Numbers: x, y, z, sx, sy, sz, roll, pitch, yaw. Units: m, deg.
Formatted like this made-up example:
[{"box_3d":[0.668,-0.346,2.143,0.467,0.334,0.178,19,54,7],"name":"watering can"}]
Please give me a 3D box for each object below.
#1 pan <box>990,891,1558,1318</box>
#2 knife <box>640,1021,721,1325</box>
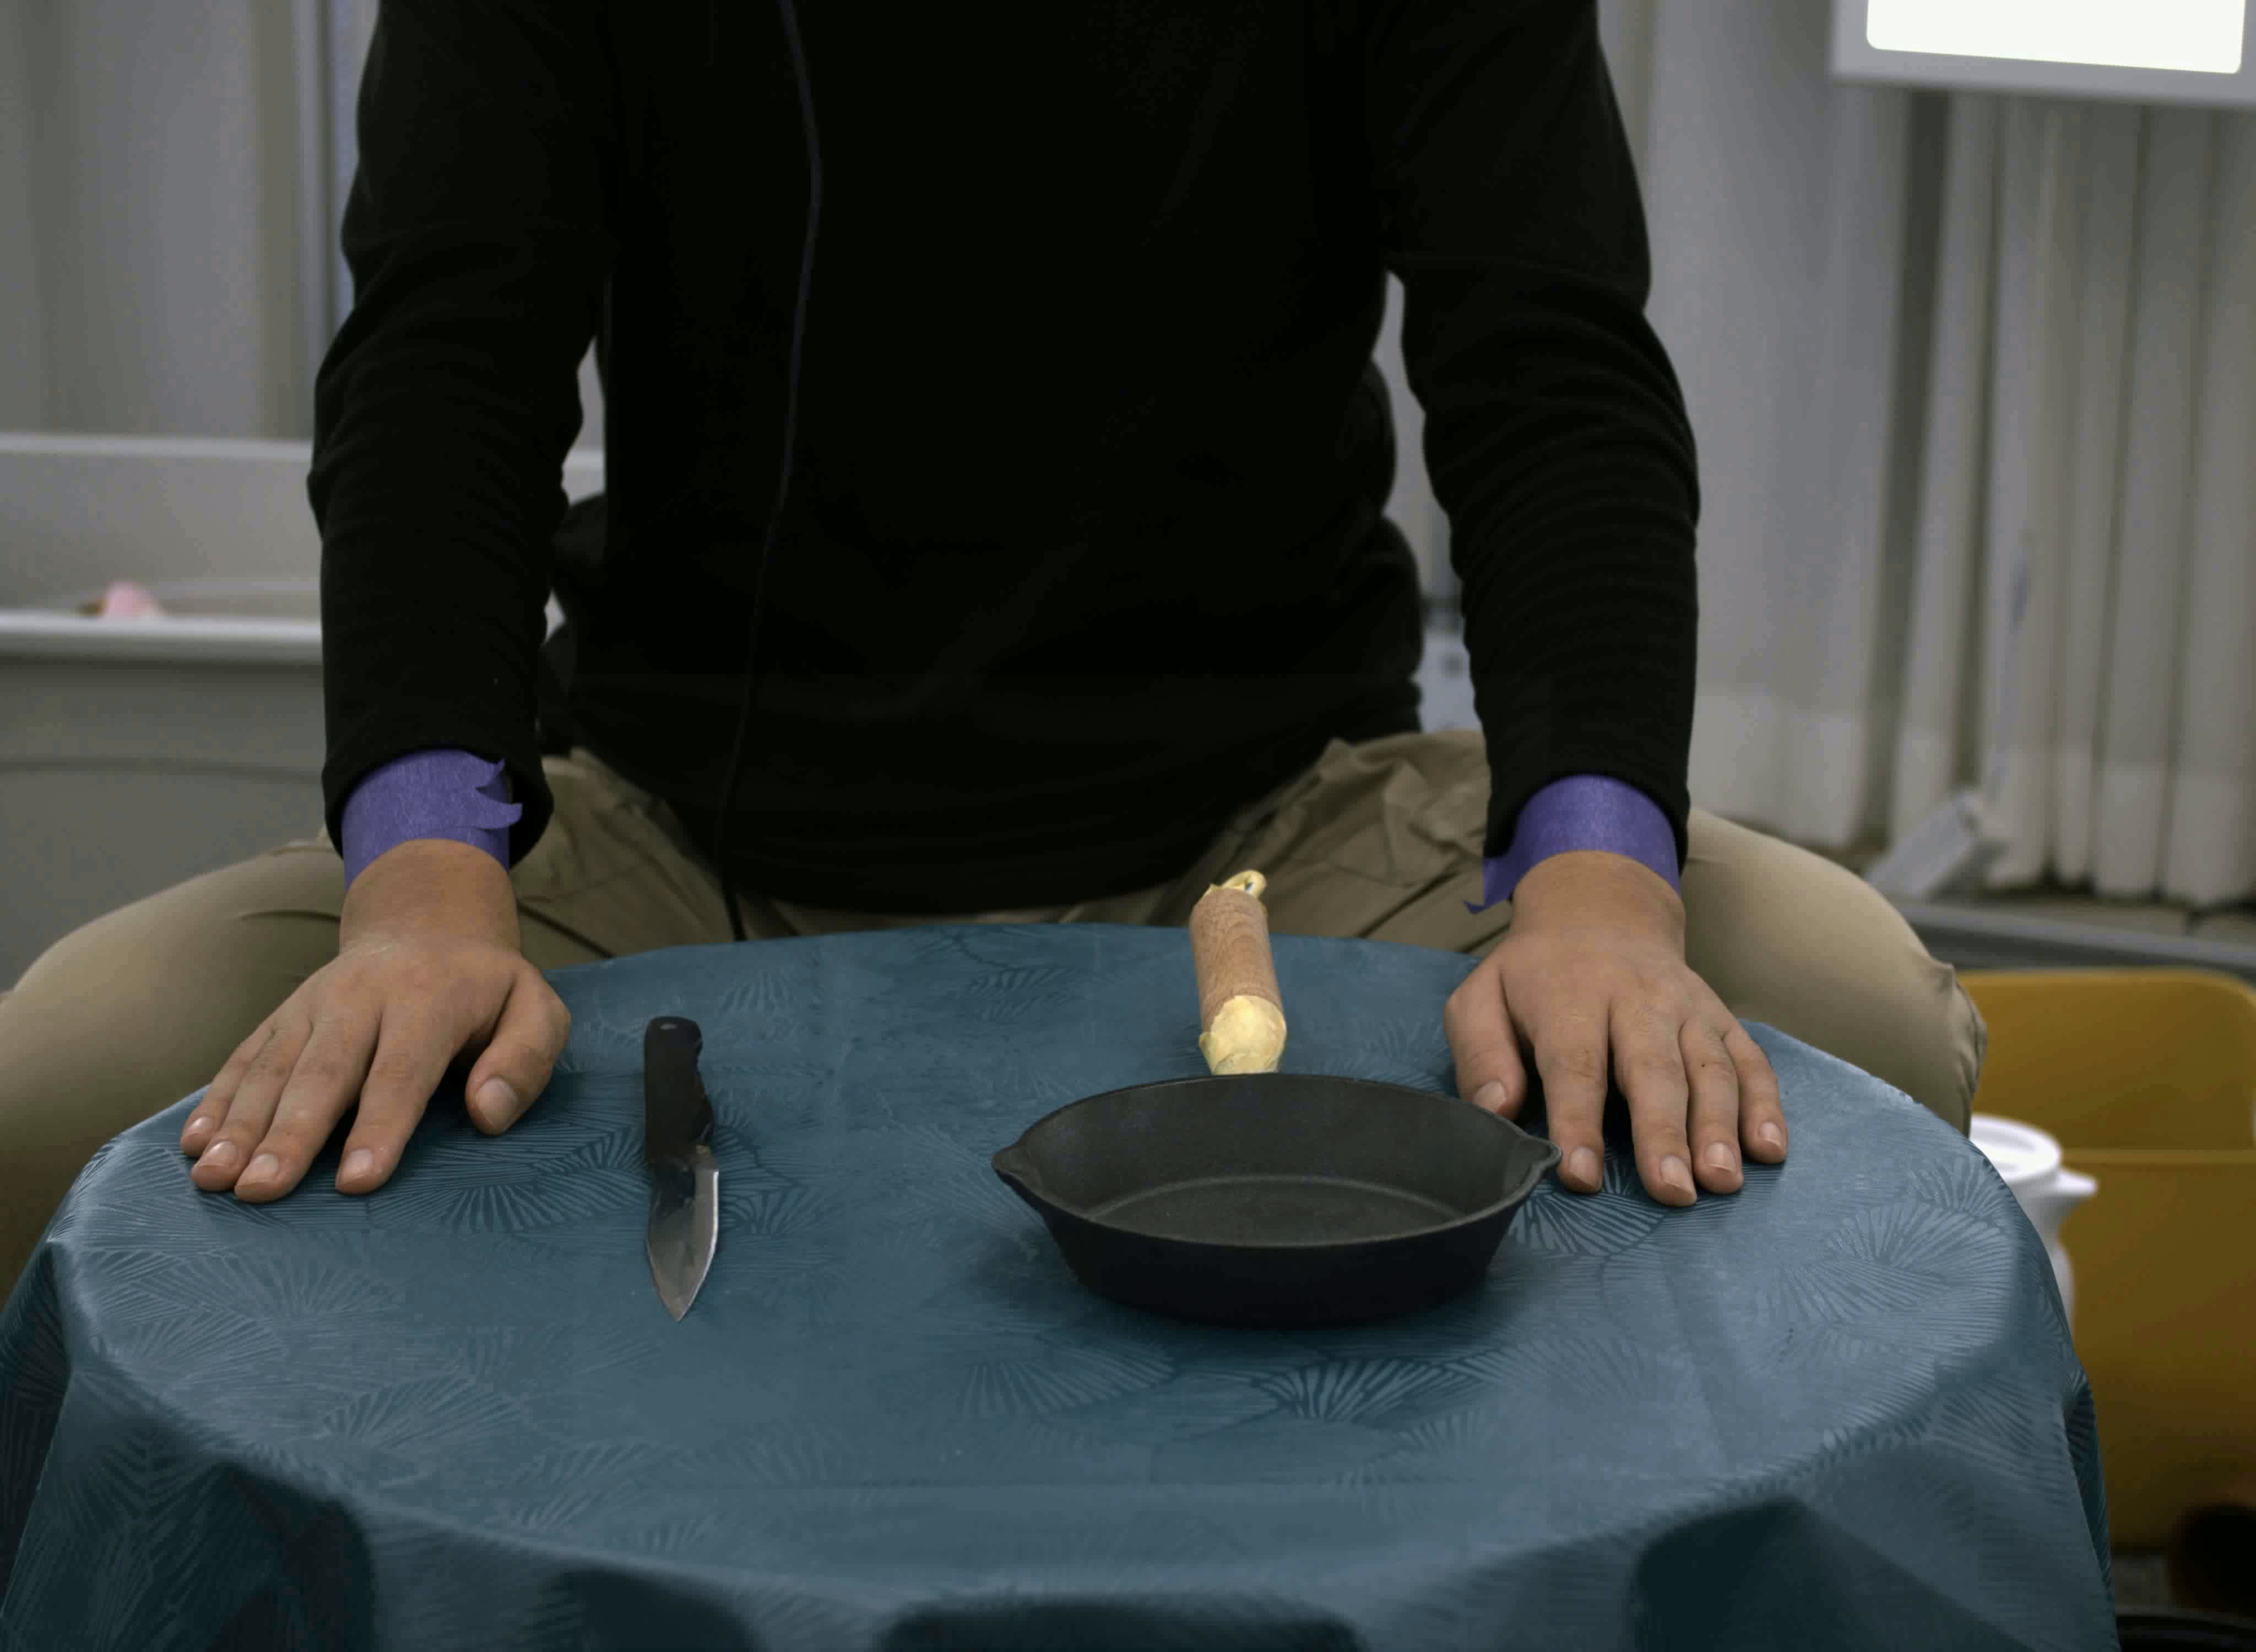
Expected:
[{"box_3d":[0.042,0.083,1.642,0.168,0.050,0.322,0,15,-1],"name":"pan"},{"box_3d":[-0.138,0.106,1.622,0.024,0.016,0.236,0,18,-5],"name":"knife"}]
